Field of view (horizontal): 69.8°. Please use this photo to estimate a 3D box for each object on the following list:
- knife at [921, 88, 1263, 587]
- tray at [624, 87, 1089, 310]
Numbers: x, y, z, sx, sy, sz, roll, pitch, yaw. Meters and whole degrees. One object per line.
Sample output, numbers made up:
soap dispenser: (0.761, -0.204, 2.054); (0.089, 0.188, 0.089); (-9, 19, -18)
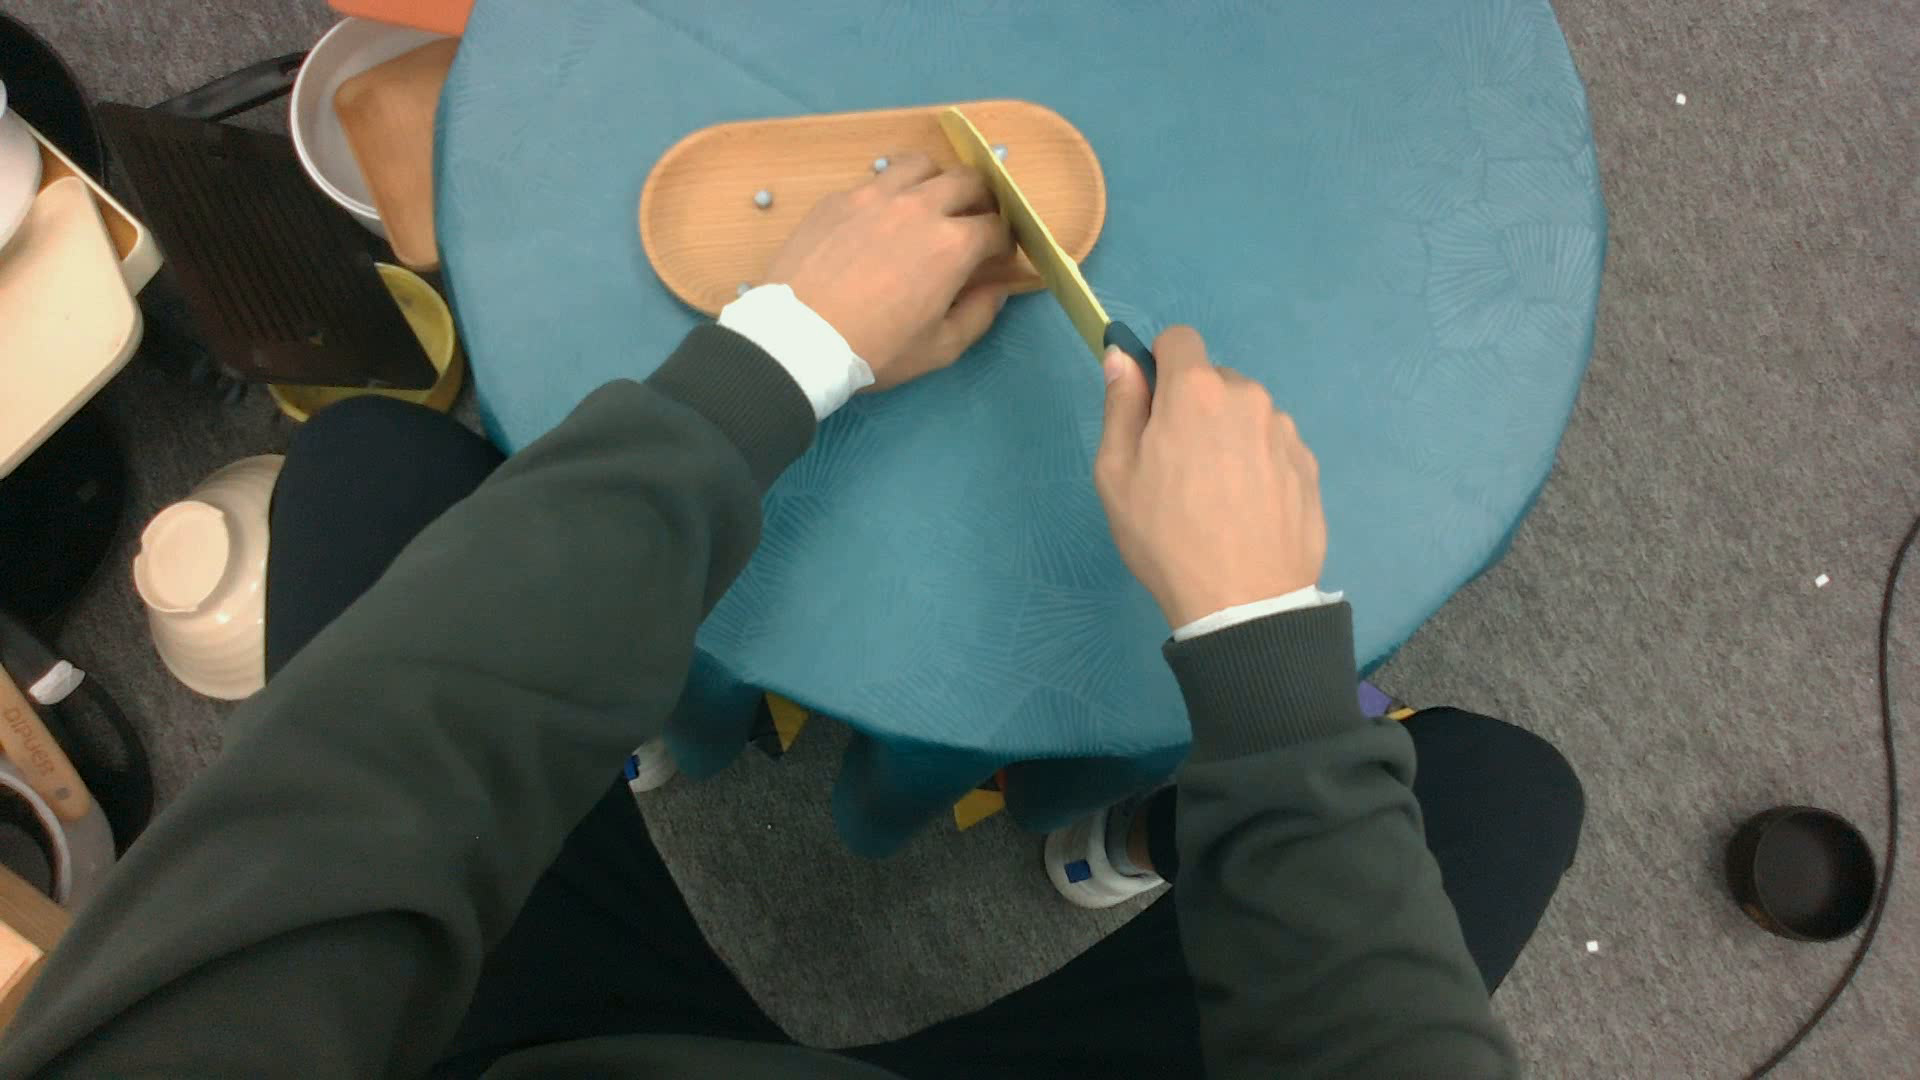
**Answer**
knife: (0.053, -0.100, 0.633); (0.027, 0.081, 0.290); (-31, 74, 1)
tray: (-0.049, -0.170, 0.686); (0.231, 0.020, 0.102); (-8, 82, -9)
